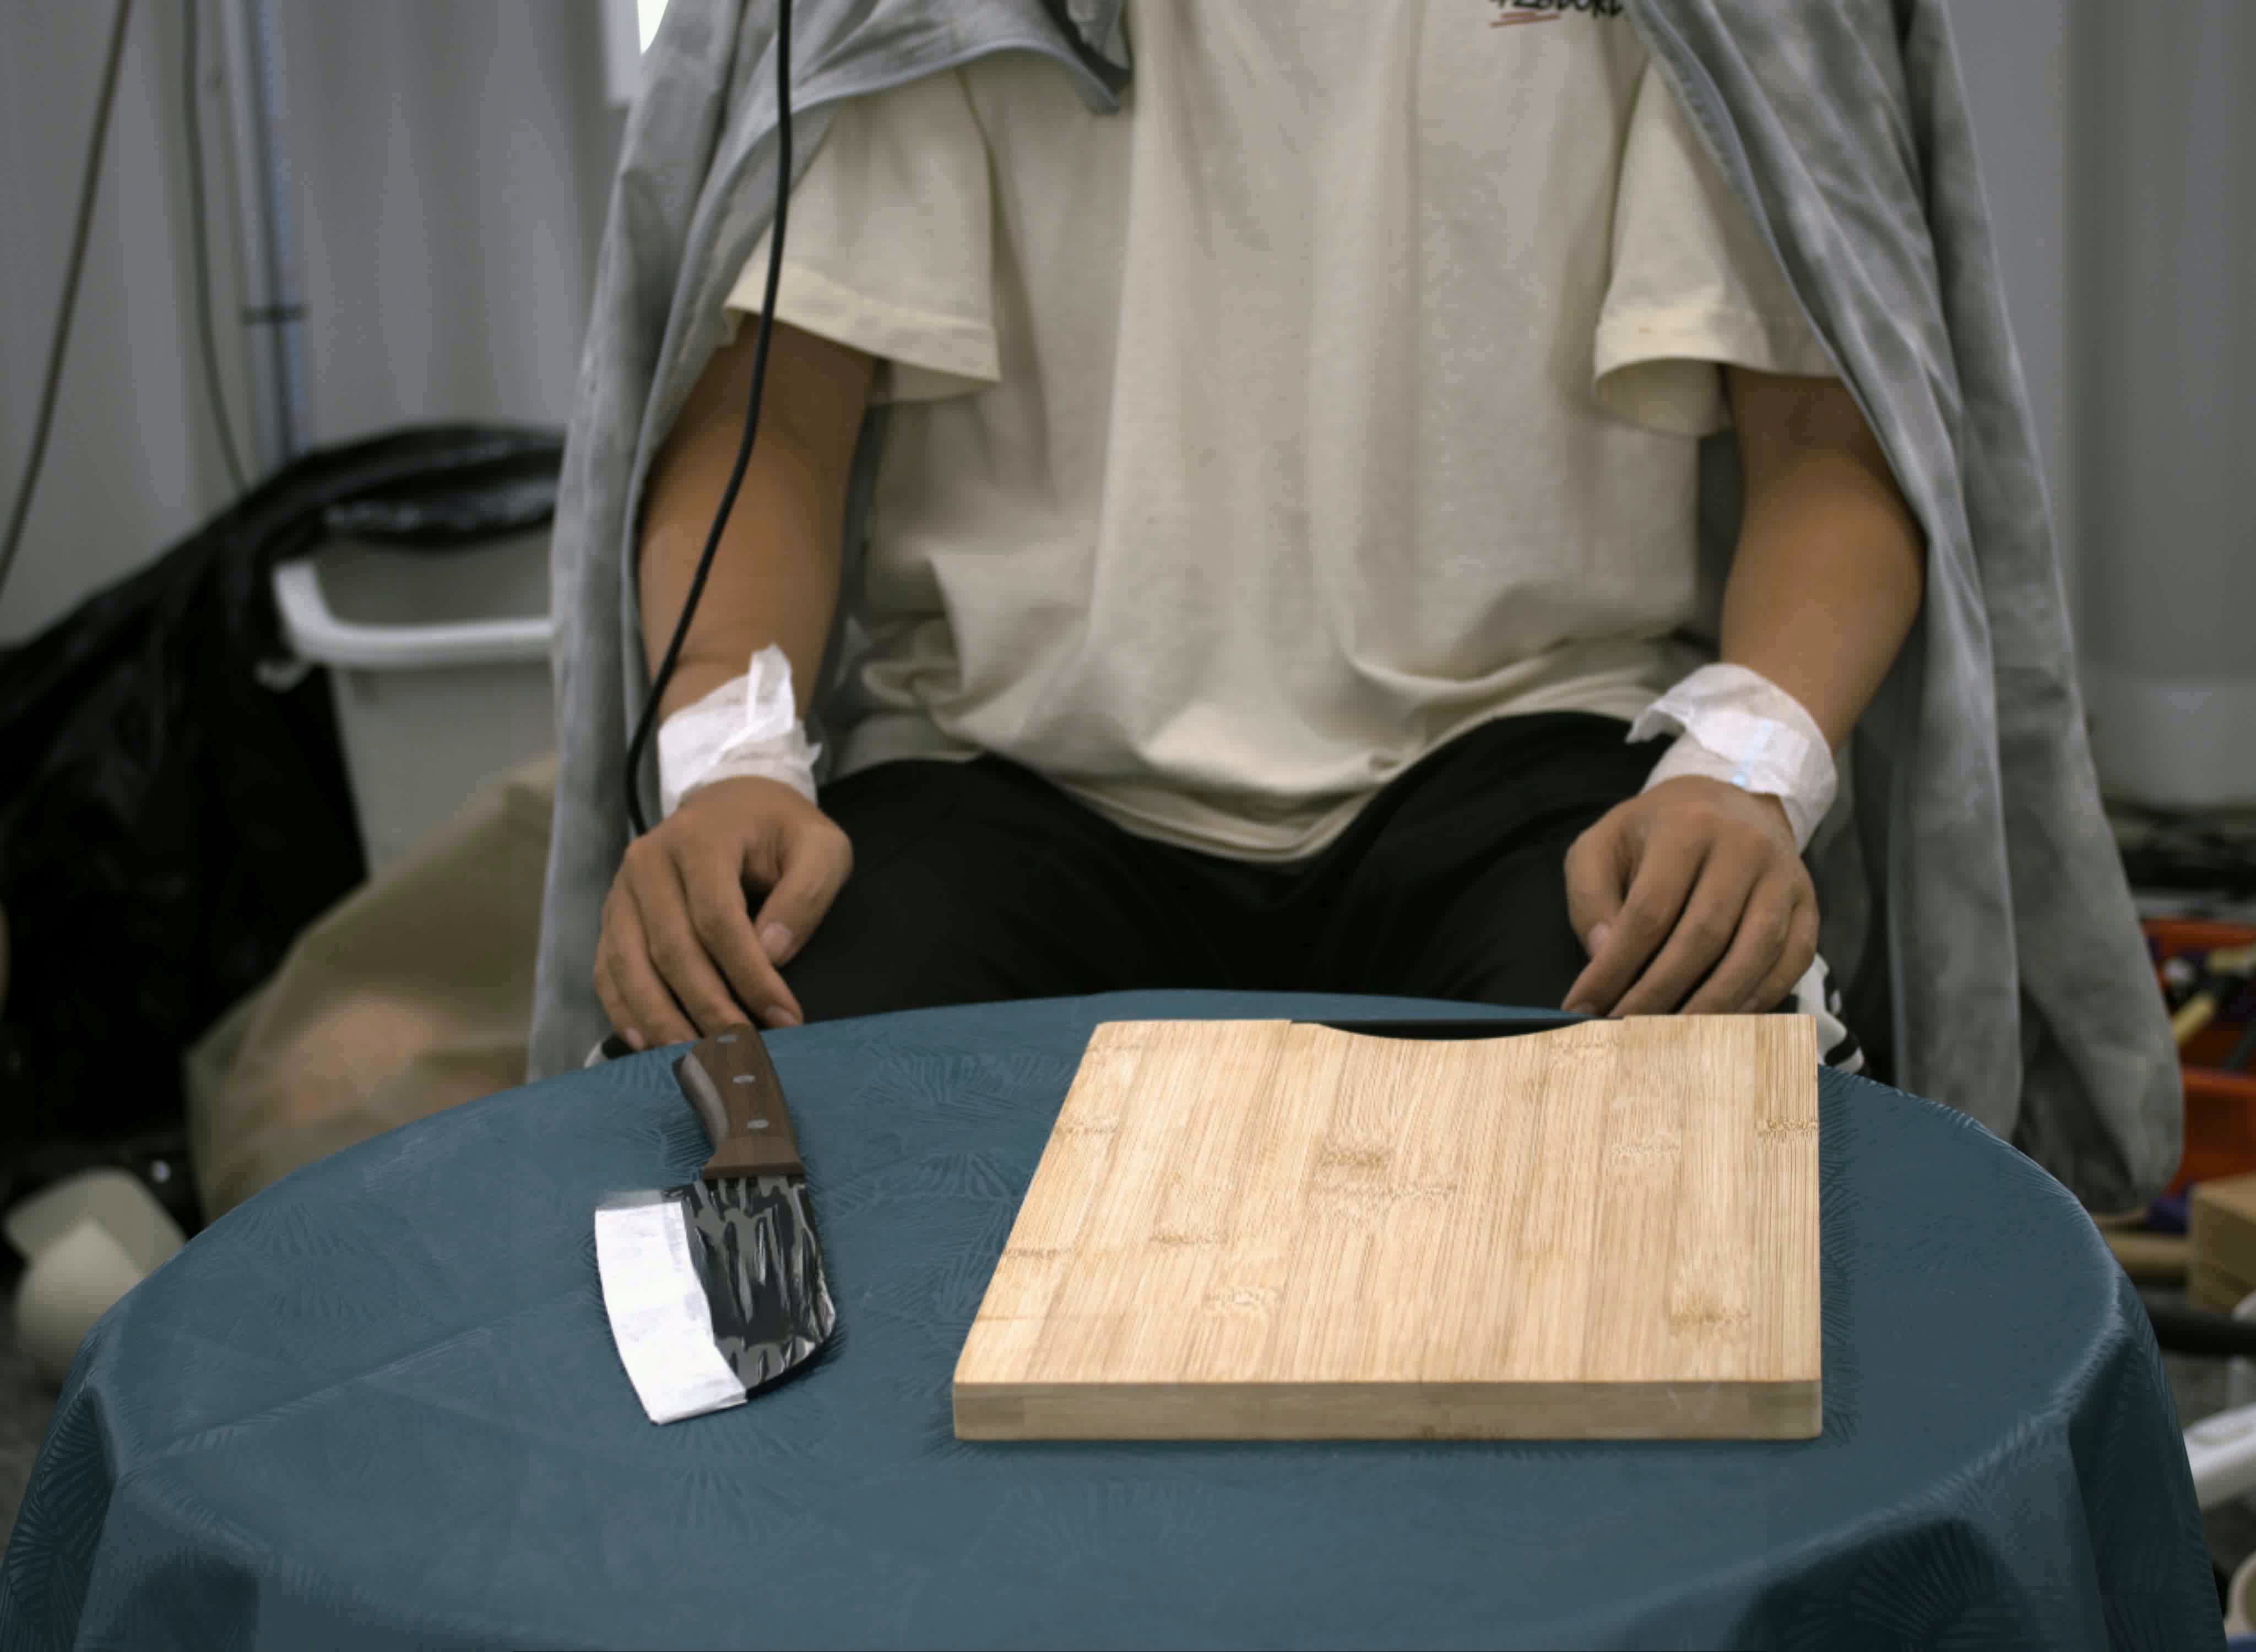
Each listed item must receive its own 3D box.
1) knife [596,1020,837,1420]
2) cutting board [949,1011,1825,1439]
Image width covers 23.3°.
[{"bbox_3d":[-0.129,0.120,1.685,0.068,0.024,0.302,-6,18,-5],"label":"knife"},{"bbox_3d":[0.090,0.116,1.666,0.250,0.023,0.350,-1,15,6],"label":"cutting board"}]
